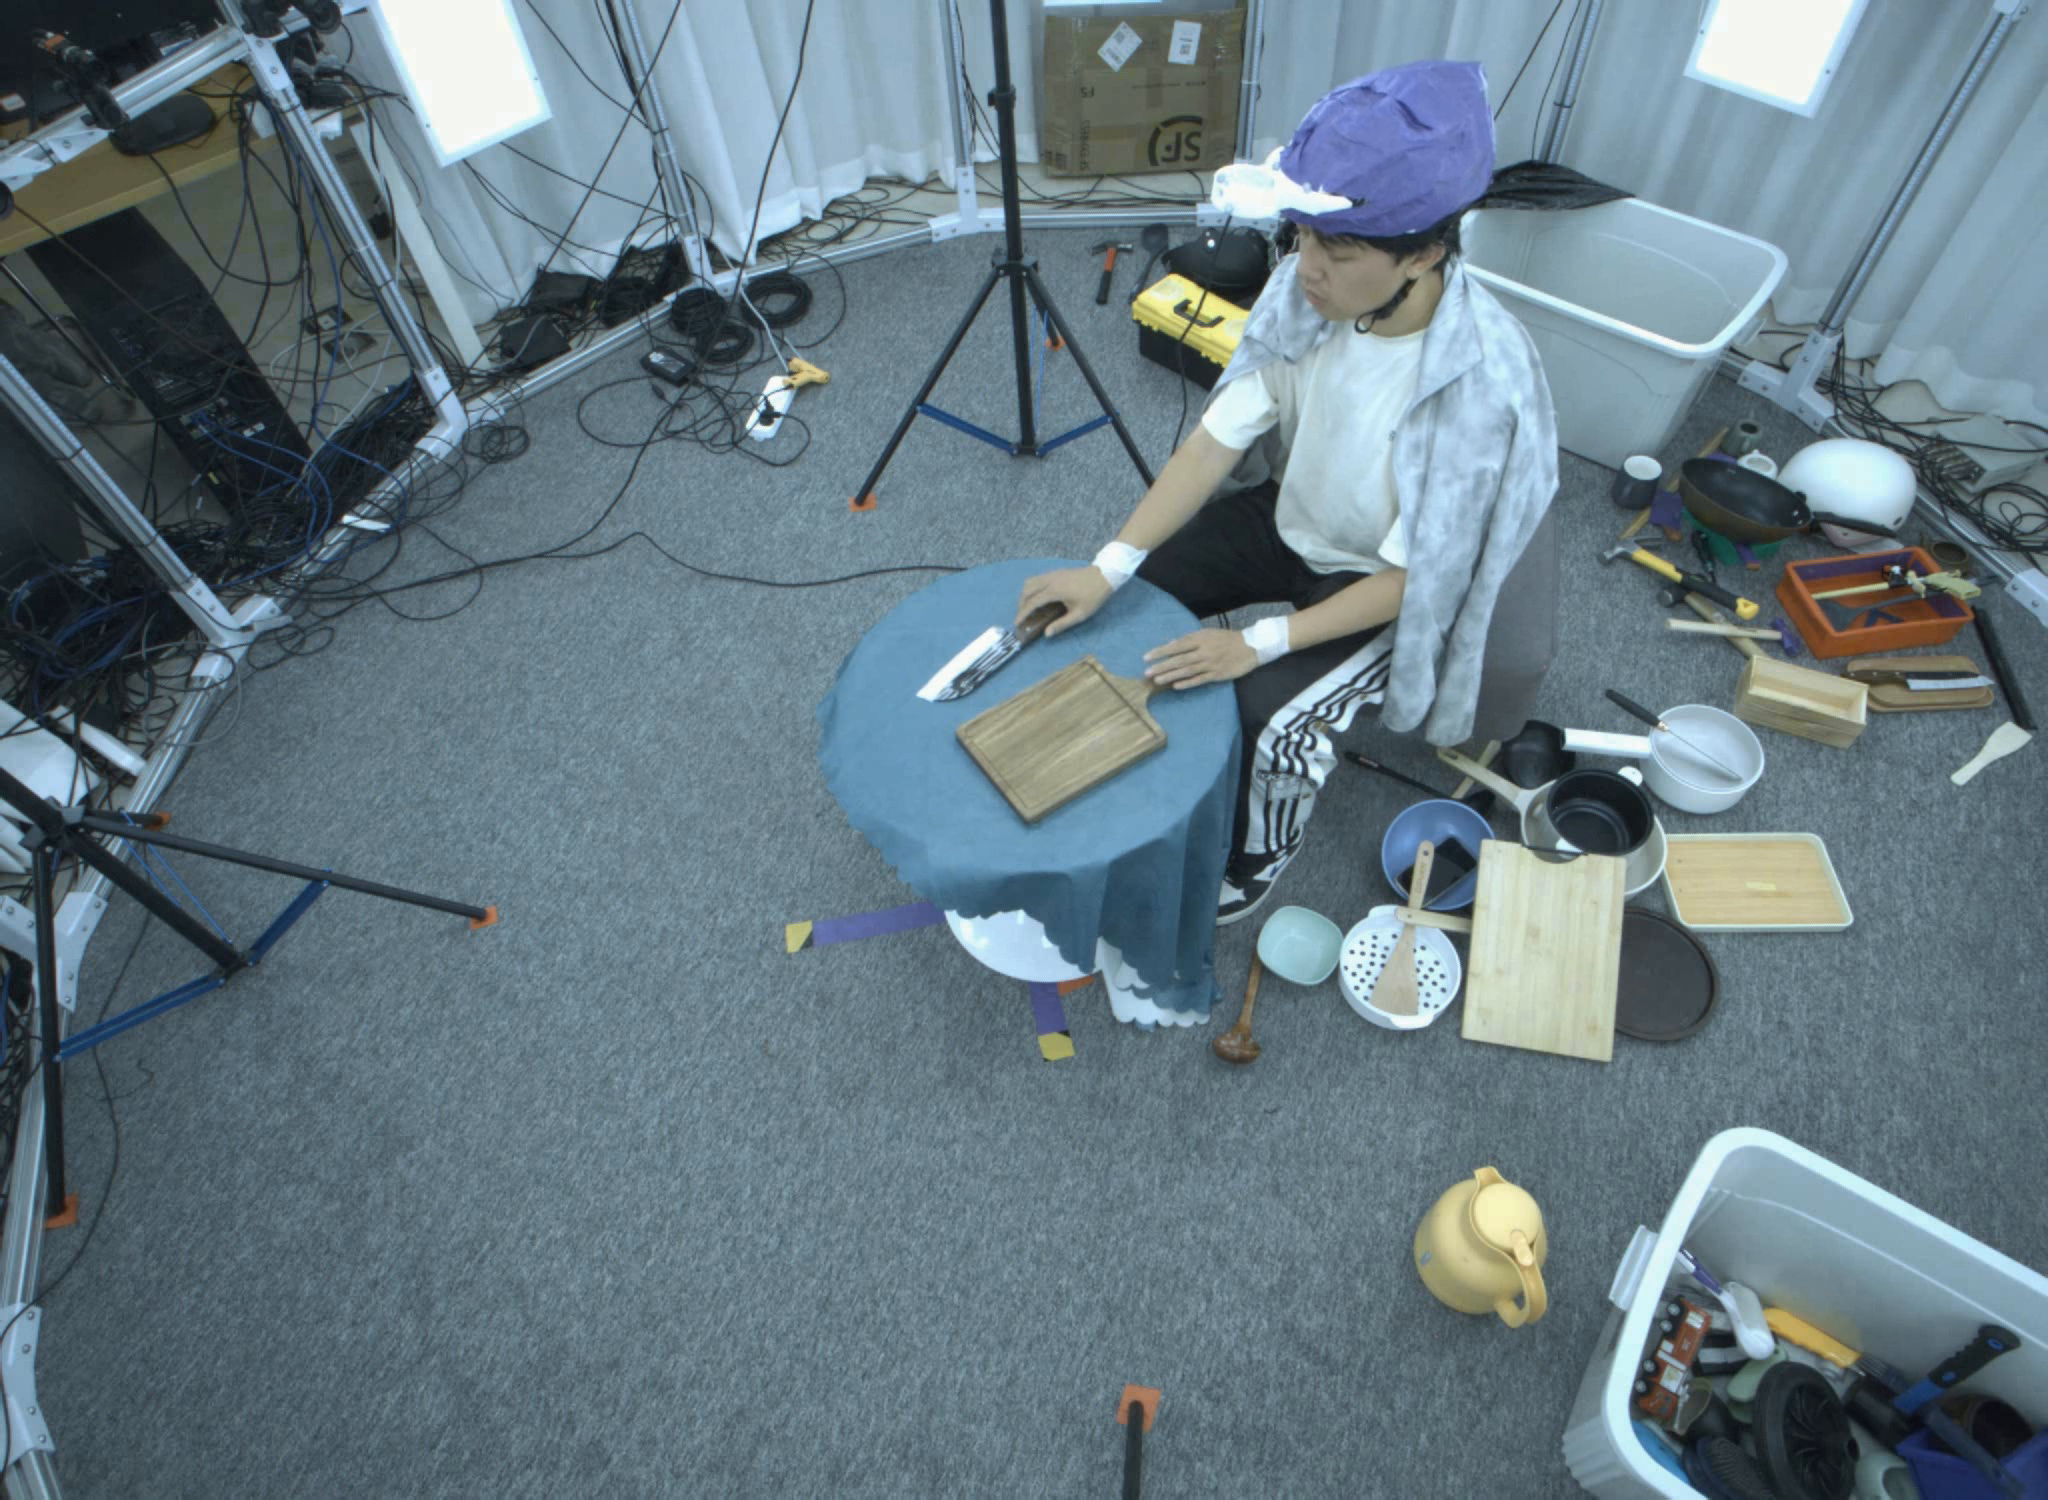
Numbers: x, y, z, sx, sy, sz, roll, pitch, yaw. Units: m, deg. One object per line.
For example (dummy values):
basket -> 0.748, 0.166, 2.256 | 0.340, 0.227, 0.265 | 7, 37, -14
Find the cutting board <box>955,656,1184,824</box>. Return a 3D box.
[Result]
cutting board -> 0.094, -0.044, 1.807 | 0.355, 0.023, 0.197 | -30, 57, -19

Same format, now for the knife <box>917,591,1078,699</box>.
knife -> -0.039, -0.165, 1.895 | 0.301, 0.024, 0.067 | -41, 61, -20
